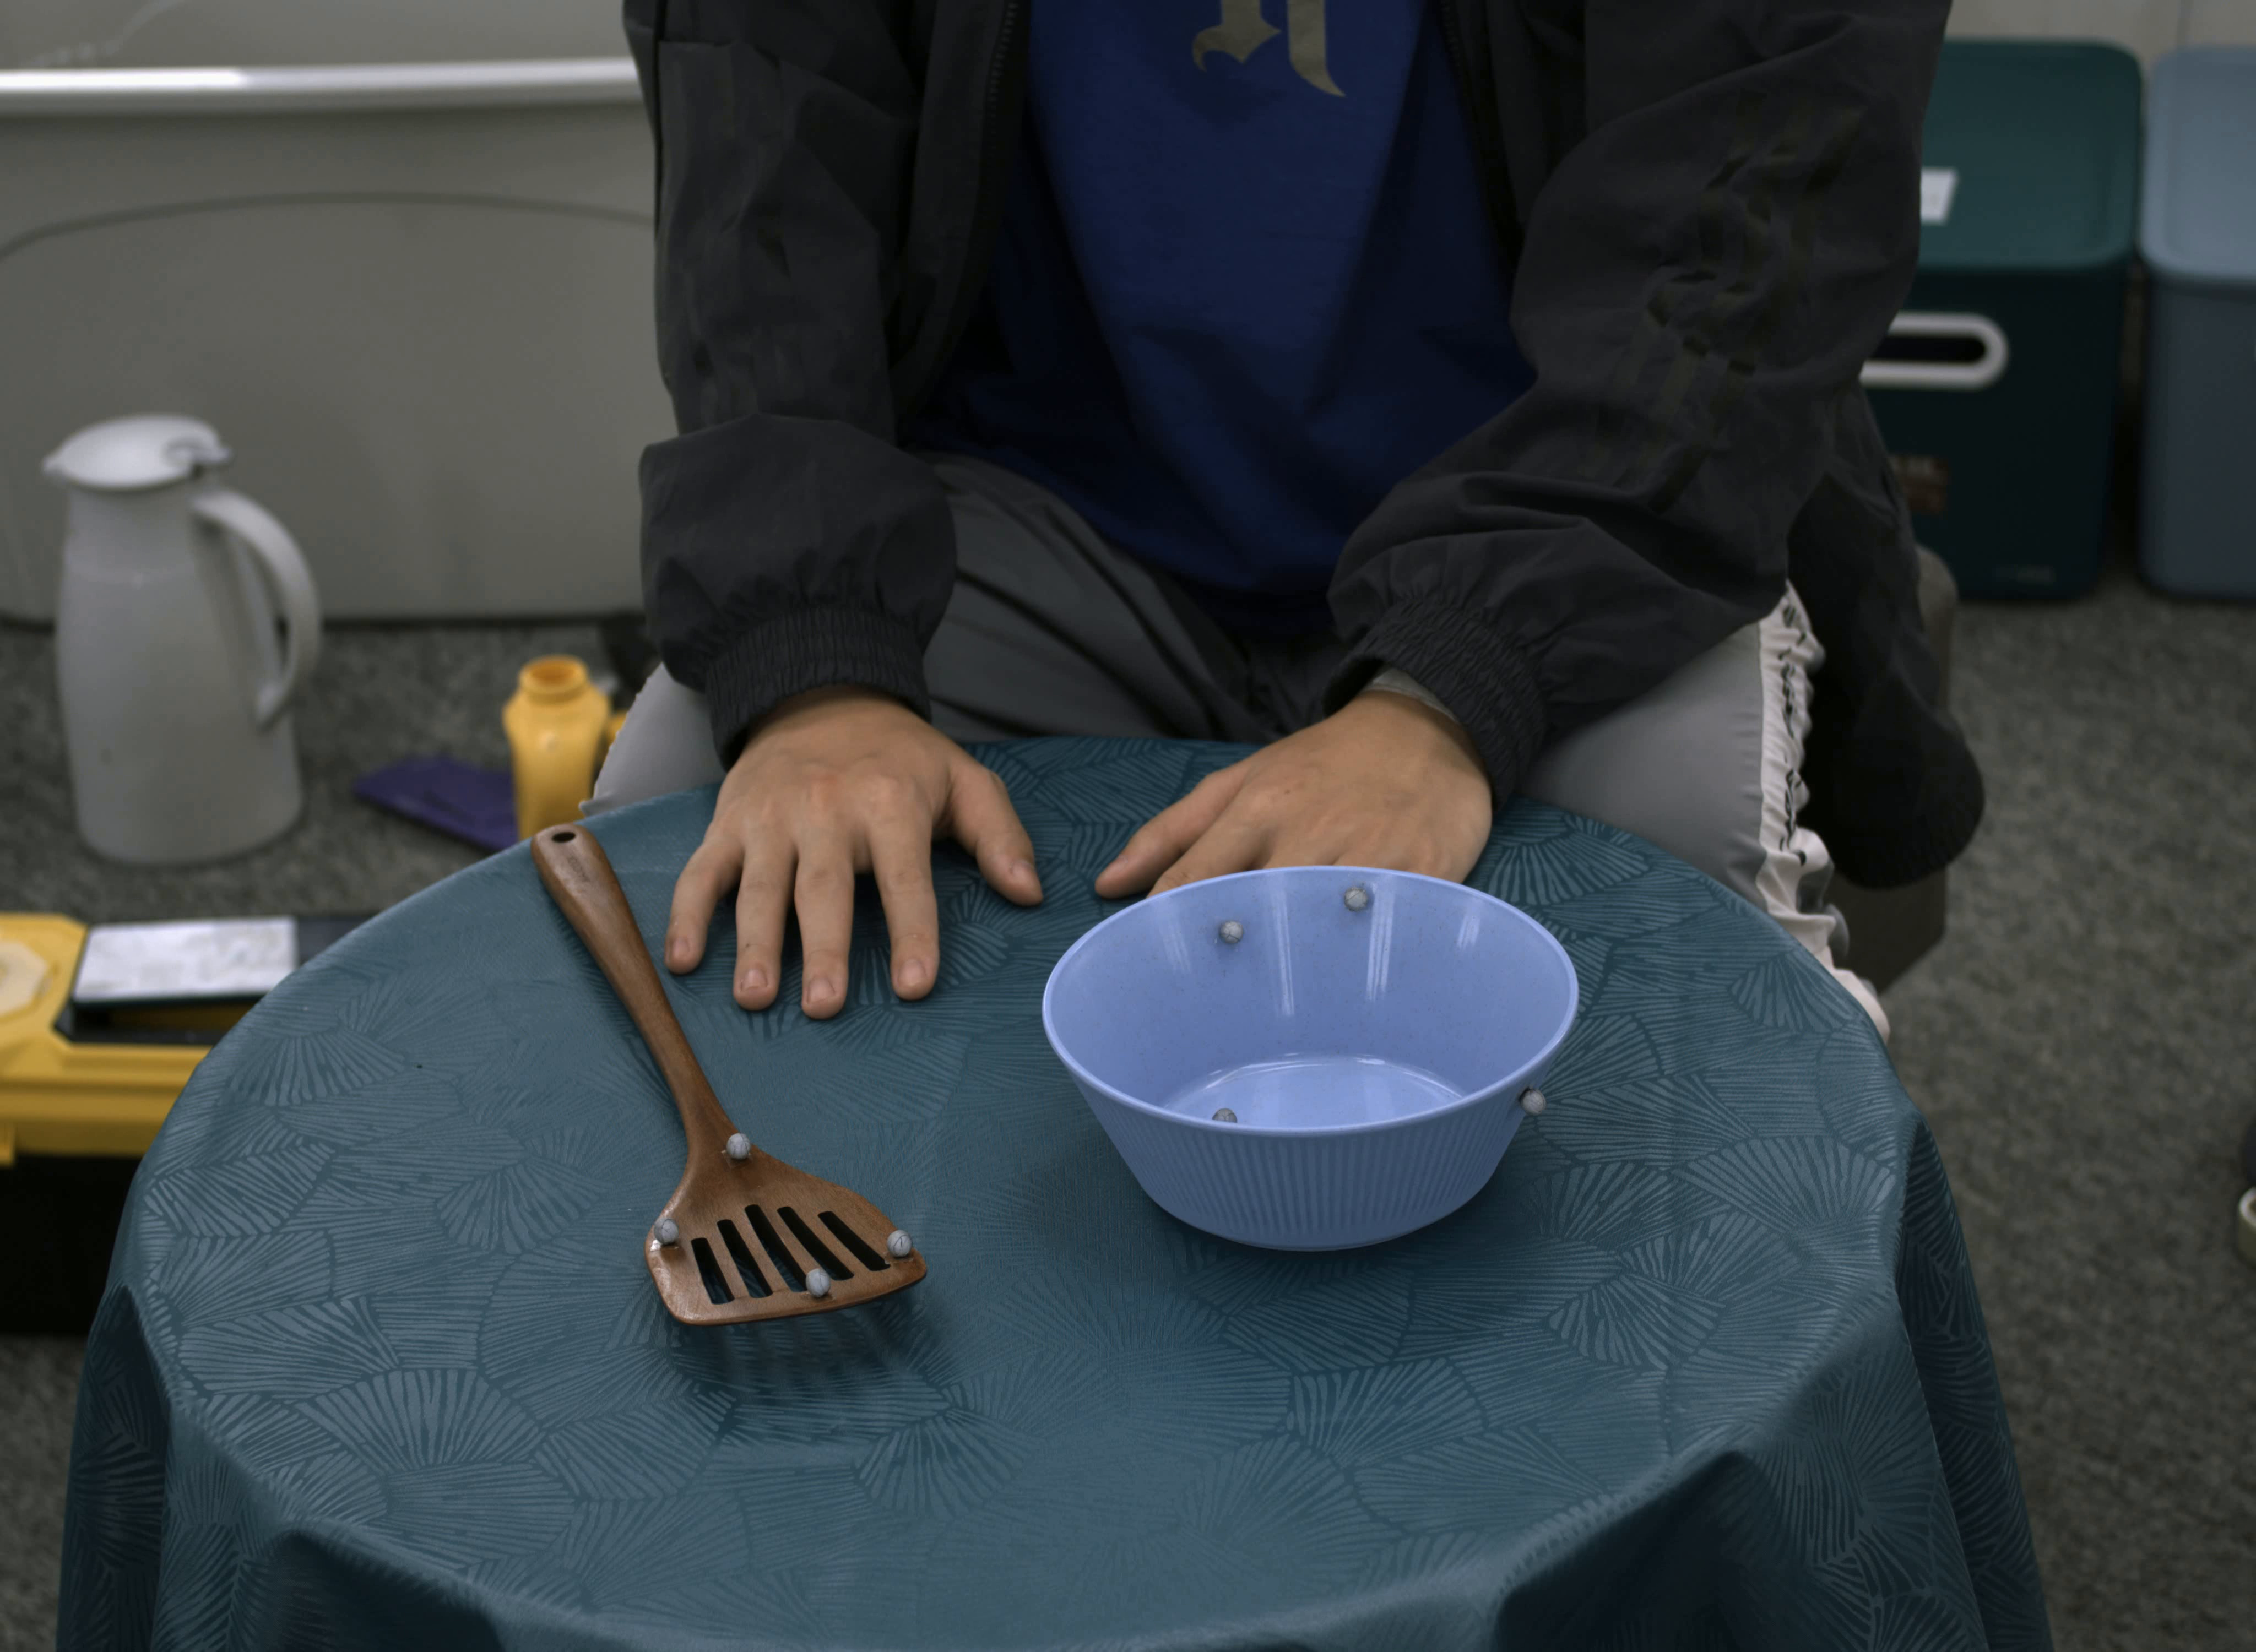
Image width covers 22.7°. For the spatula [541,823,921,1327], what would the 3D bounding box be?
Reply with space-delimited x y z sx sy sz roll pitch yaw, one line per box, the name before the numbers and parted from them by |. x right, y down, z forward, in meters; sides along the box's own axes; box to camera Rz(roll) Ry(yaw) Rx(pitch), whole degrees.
spatula | -0.155 0.083 1.930 0.085 0.024 0.390 -9 27 -14

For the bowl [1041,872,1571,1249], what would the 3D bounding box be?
bowl | 0.059 0.083 1.853 0.175 0.069 0.178 -2 26 1
